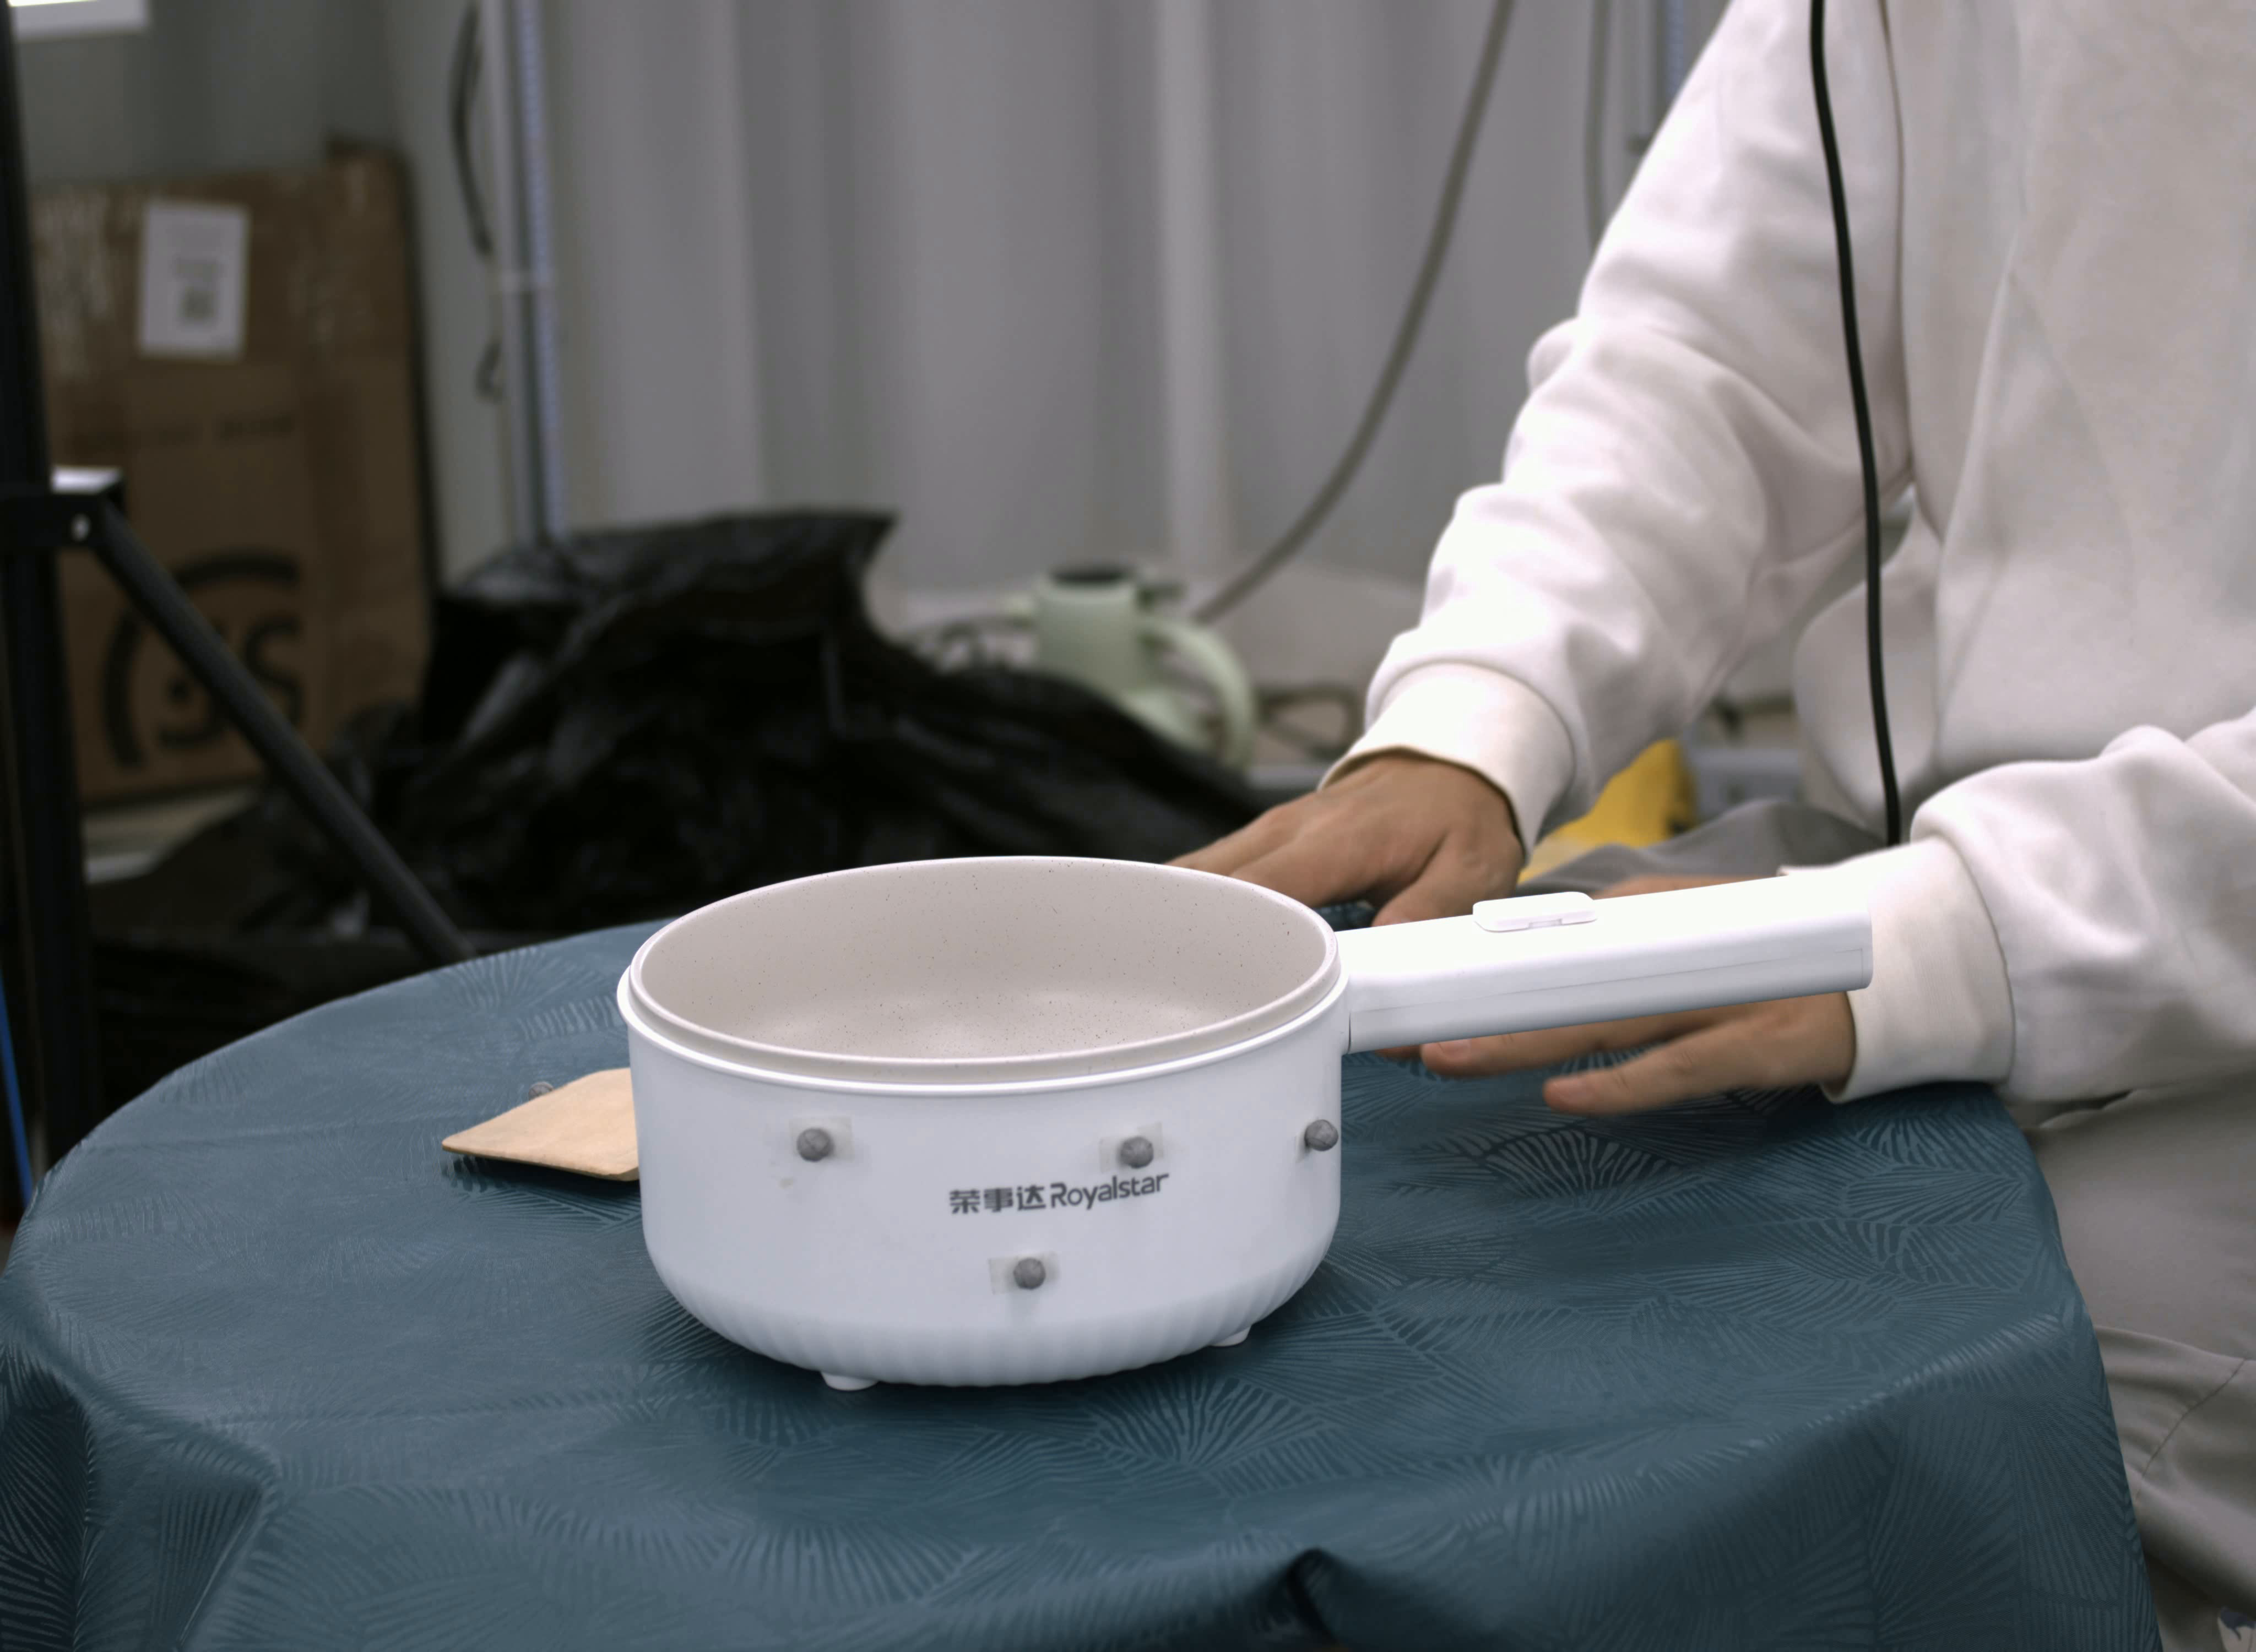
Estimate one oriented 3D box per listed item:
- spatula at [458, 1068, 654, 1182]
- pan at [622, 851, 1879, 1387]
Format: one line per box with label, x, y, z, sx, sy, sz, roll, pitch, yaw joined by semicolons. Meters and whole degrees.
spatula;-0.103;0.066;1.708;0.073;0.010;0.287;6;18;31
pan;0.037;0.076;1.483;0.350;0.102;0.204;-5;16;-12
